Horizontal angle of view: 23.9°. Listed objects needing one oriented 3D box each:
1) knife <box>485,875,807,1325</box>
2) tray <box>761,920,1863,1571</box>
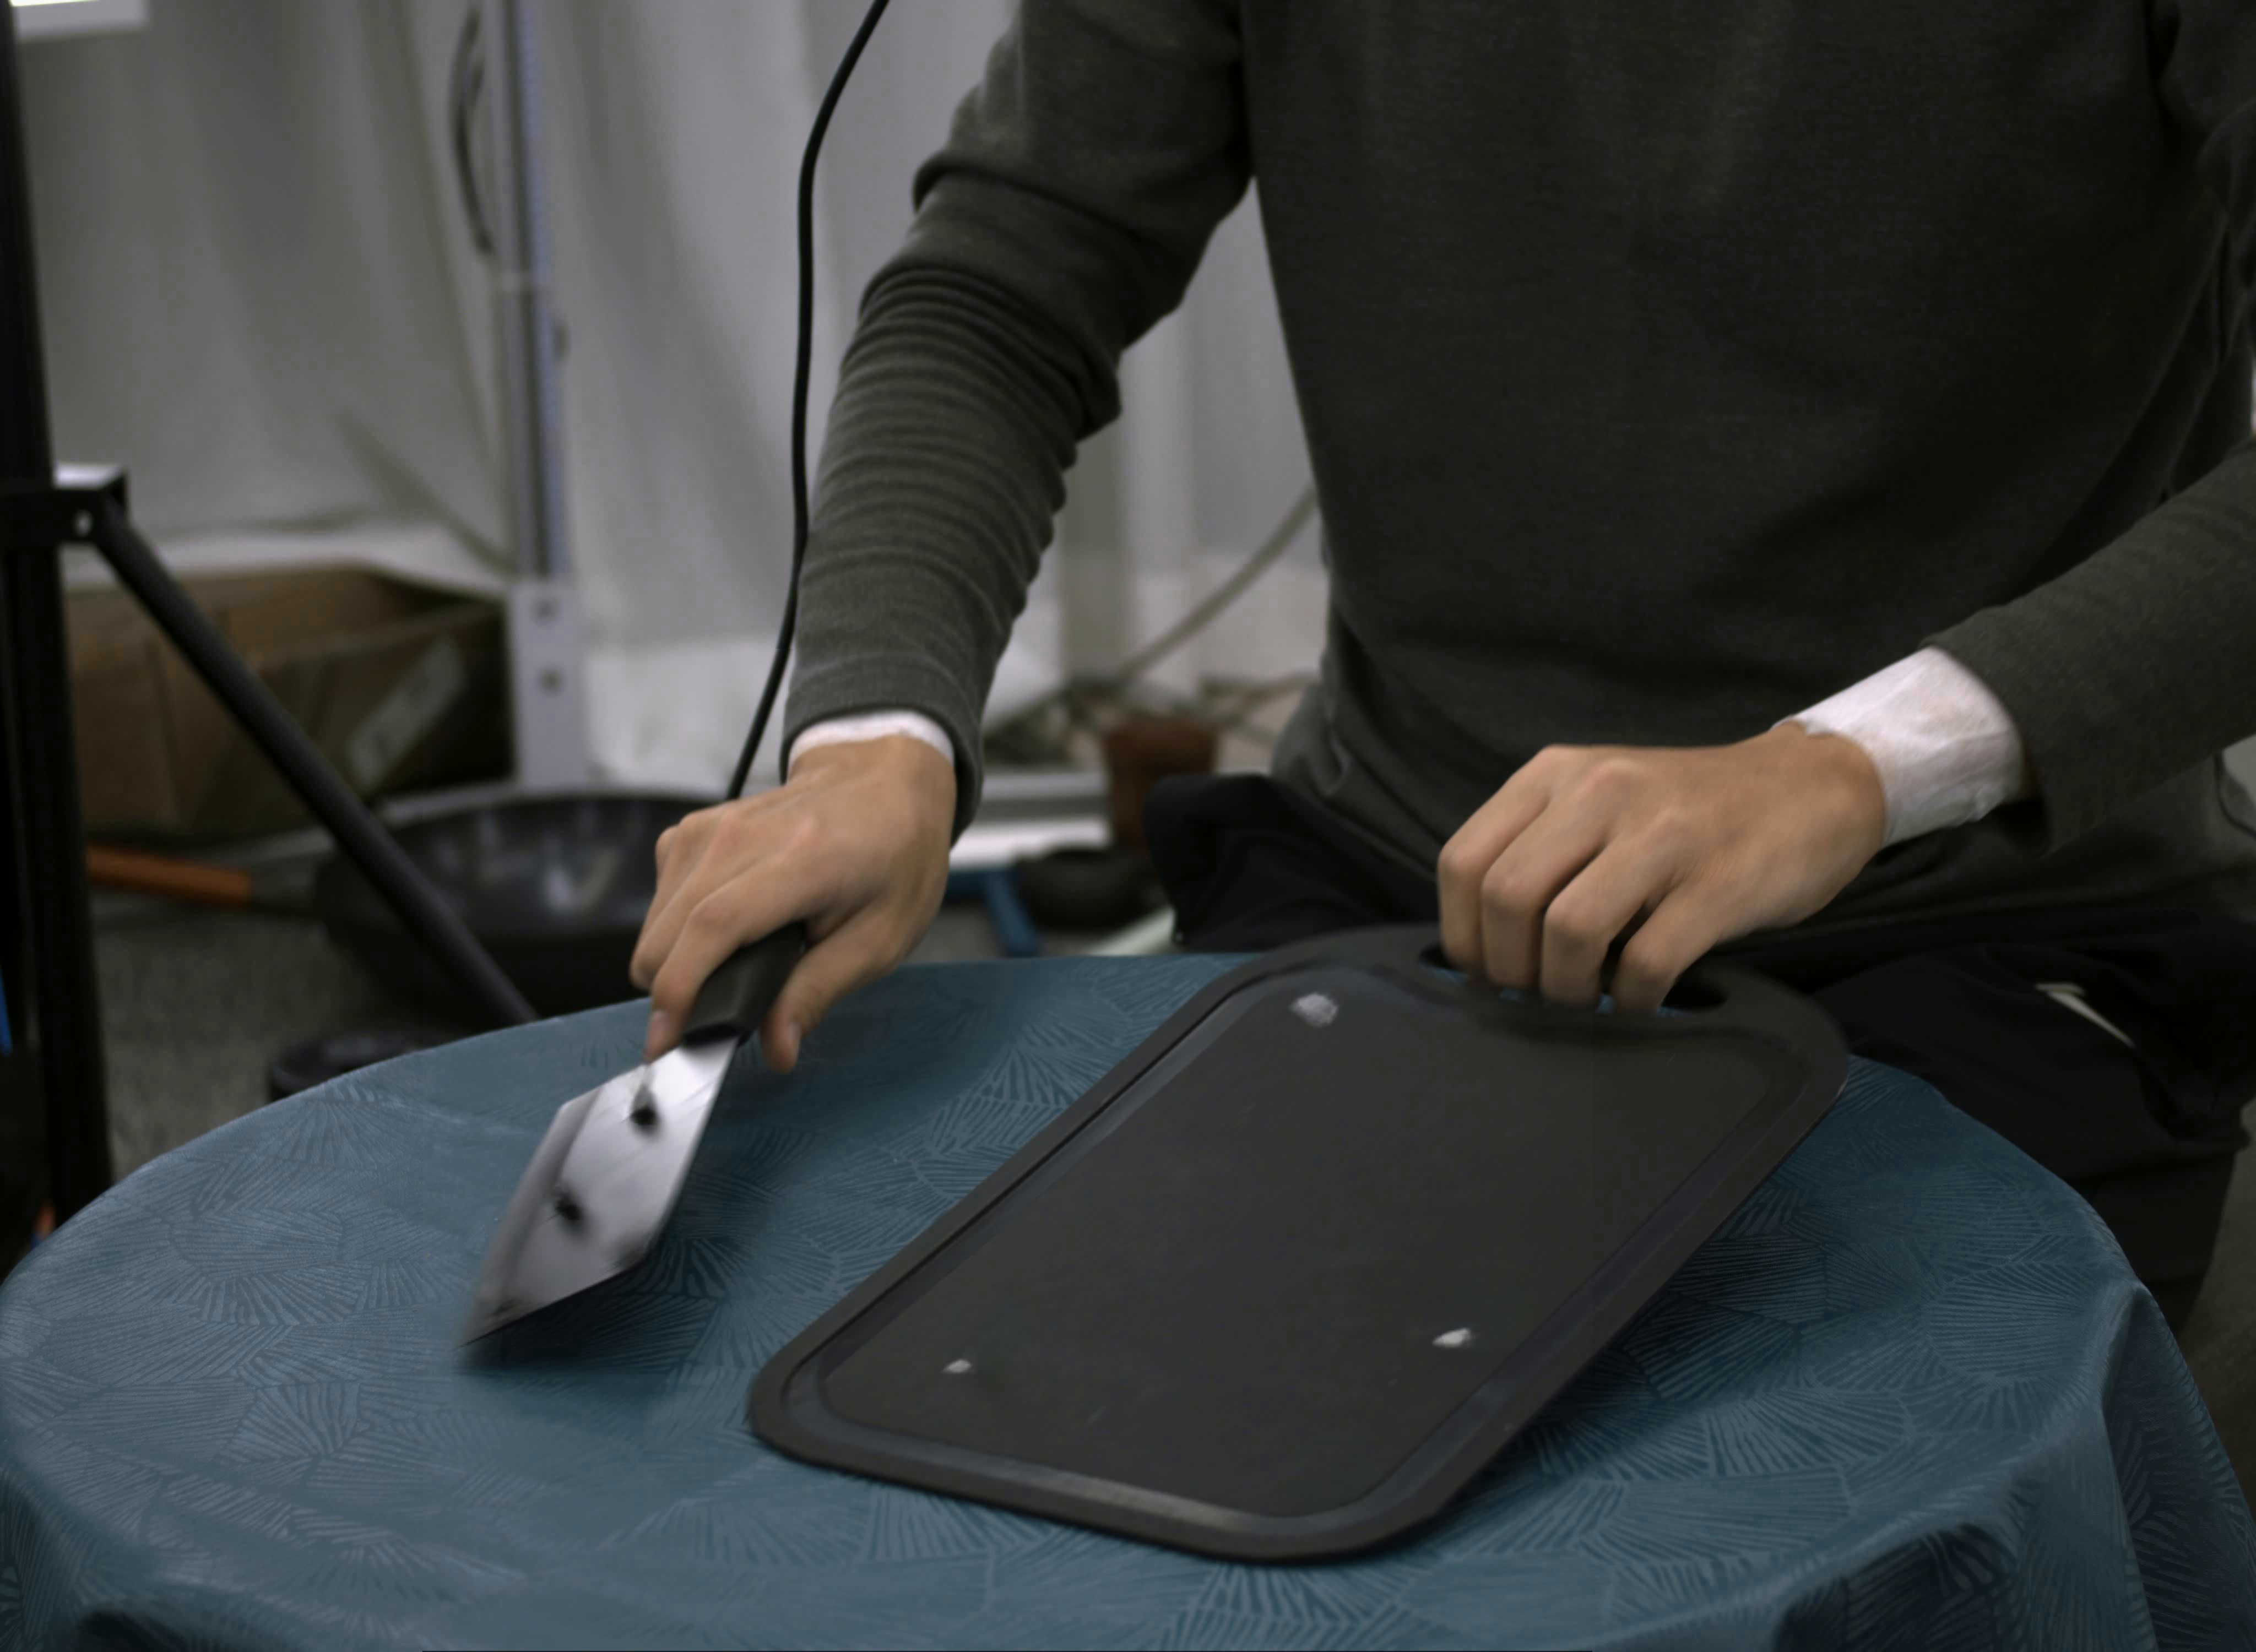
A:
[{"bbox_3d":[-0.137,0.077,1.579,0.081,0.021,0.302,-24,15,16],"label":"knife"},{"bbox_3d":[0.058,0.101,1.451,0.215,0.010,0.320,9,32,35],"label":"tray"}]
